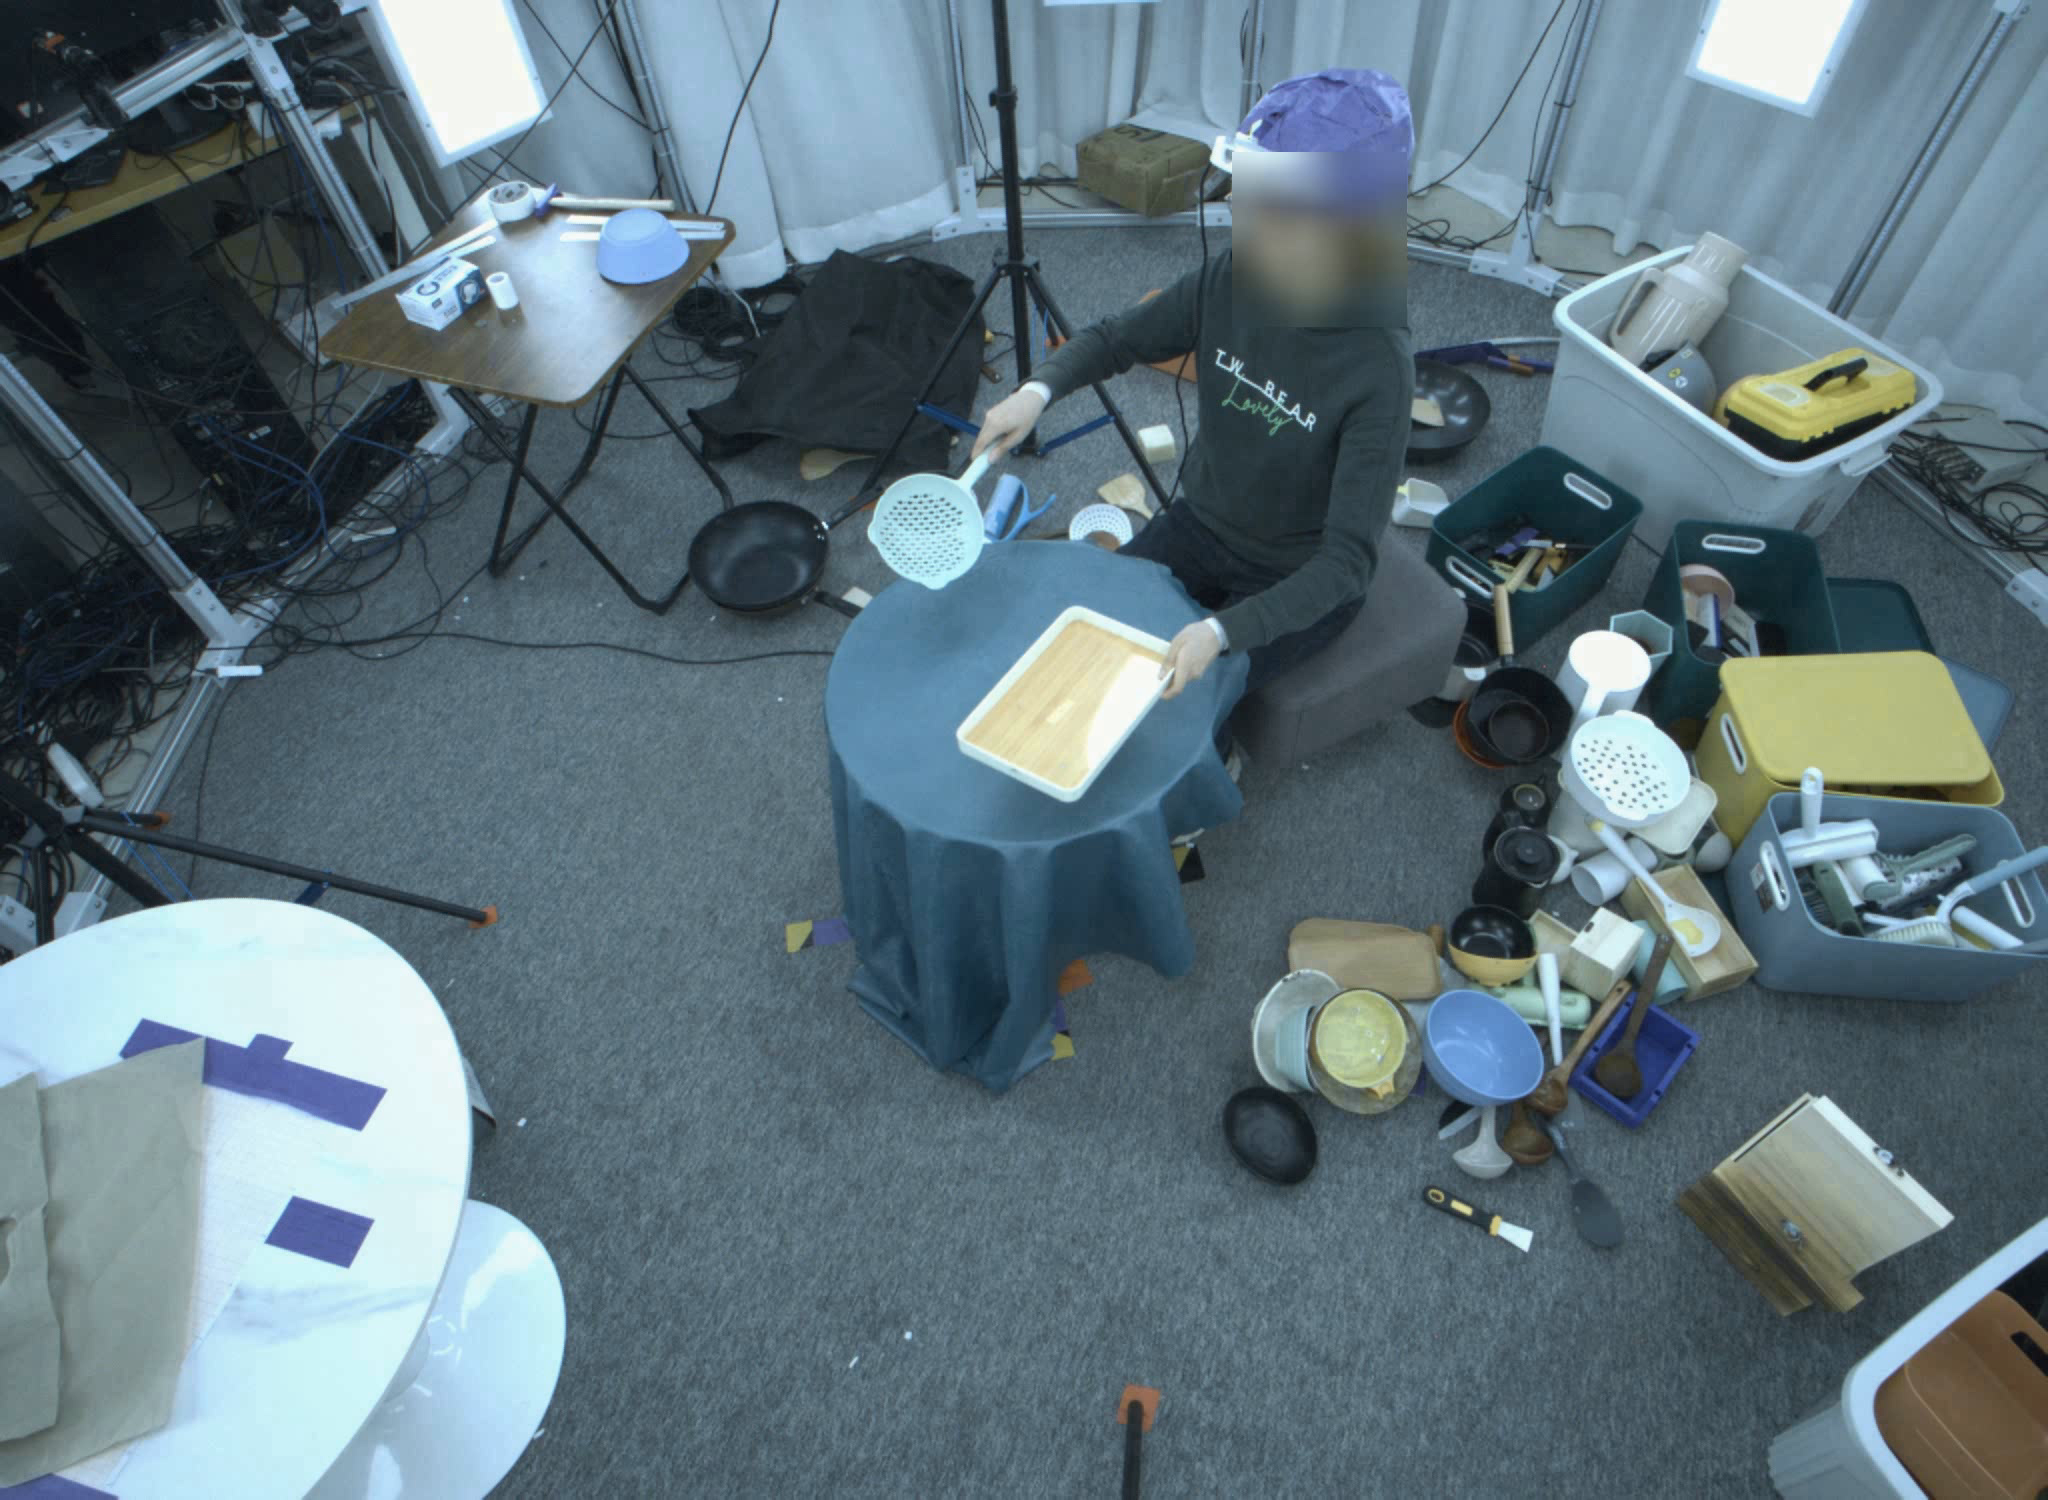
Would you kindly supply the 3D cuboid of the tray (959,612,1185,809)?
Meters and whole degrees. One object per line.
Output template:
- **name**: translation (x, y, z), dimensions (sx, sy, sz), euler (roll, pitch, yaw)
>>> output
- **tray**: translation (0.068, -0.061, 1.666), dimensions (0.188, 0.028, 0.302), euler (26, 56, 21)

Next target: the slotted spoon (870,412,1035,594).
- **slotted spoon**: translation (-0.089, -0.397, 1.860), dimensions (0.171, 0.074, 0.359), euler (38, 81, -11)
